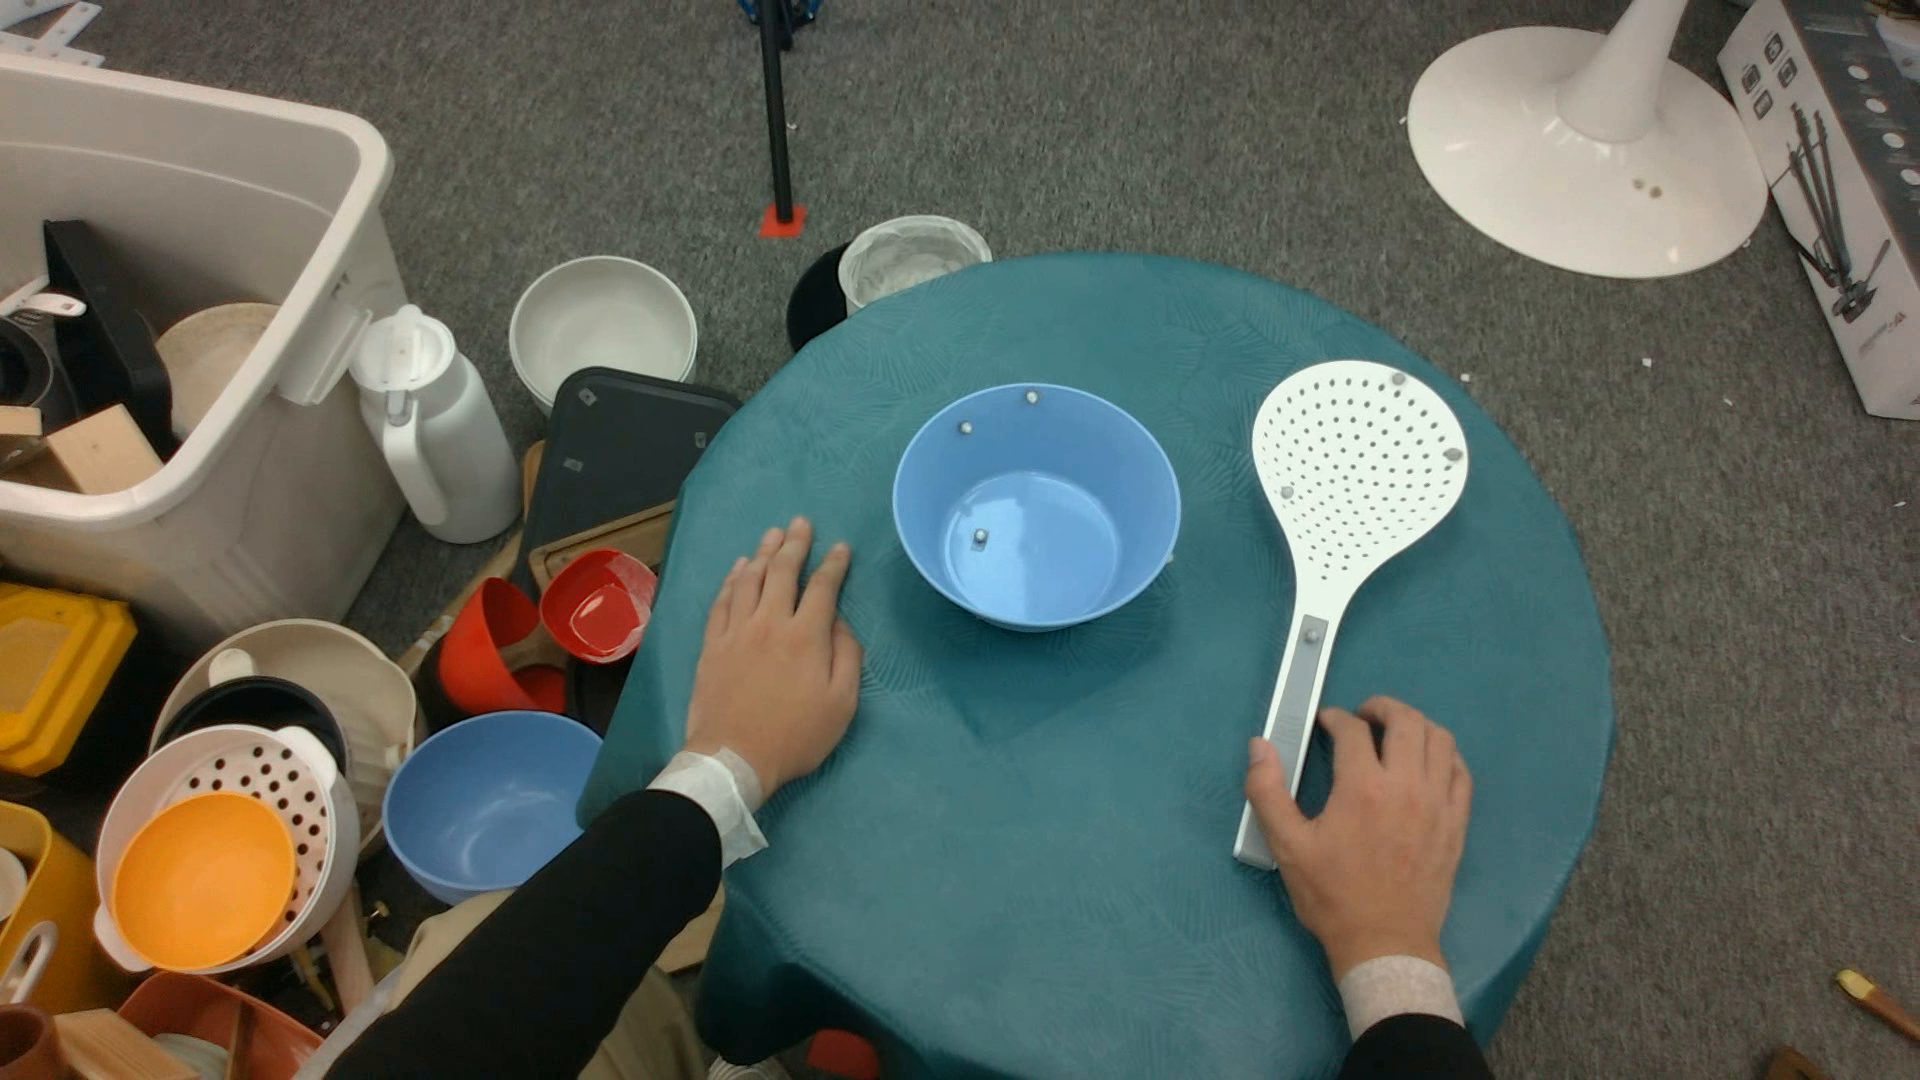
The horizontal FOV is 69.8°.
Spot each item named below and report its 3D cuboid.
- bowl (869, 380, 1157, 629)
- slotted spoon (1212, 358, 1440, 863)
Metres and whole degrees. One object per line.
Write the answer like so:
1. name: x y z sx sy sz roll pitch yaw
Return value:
1. bowl: 0.031 -0.011 0.862 0.176 0.070 0.177 2 59 -2
2. slotted spoon: 0.212 0.033 0.859 0.136 0.045 0.351 17 60 7
